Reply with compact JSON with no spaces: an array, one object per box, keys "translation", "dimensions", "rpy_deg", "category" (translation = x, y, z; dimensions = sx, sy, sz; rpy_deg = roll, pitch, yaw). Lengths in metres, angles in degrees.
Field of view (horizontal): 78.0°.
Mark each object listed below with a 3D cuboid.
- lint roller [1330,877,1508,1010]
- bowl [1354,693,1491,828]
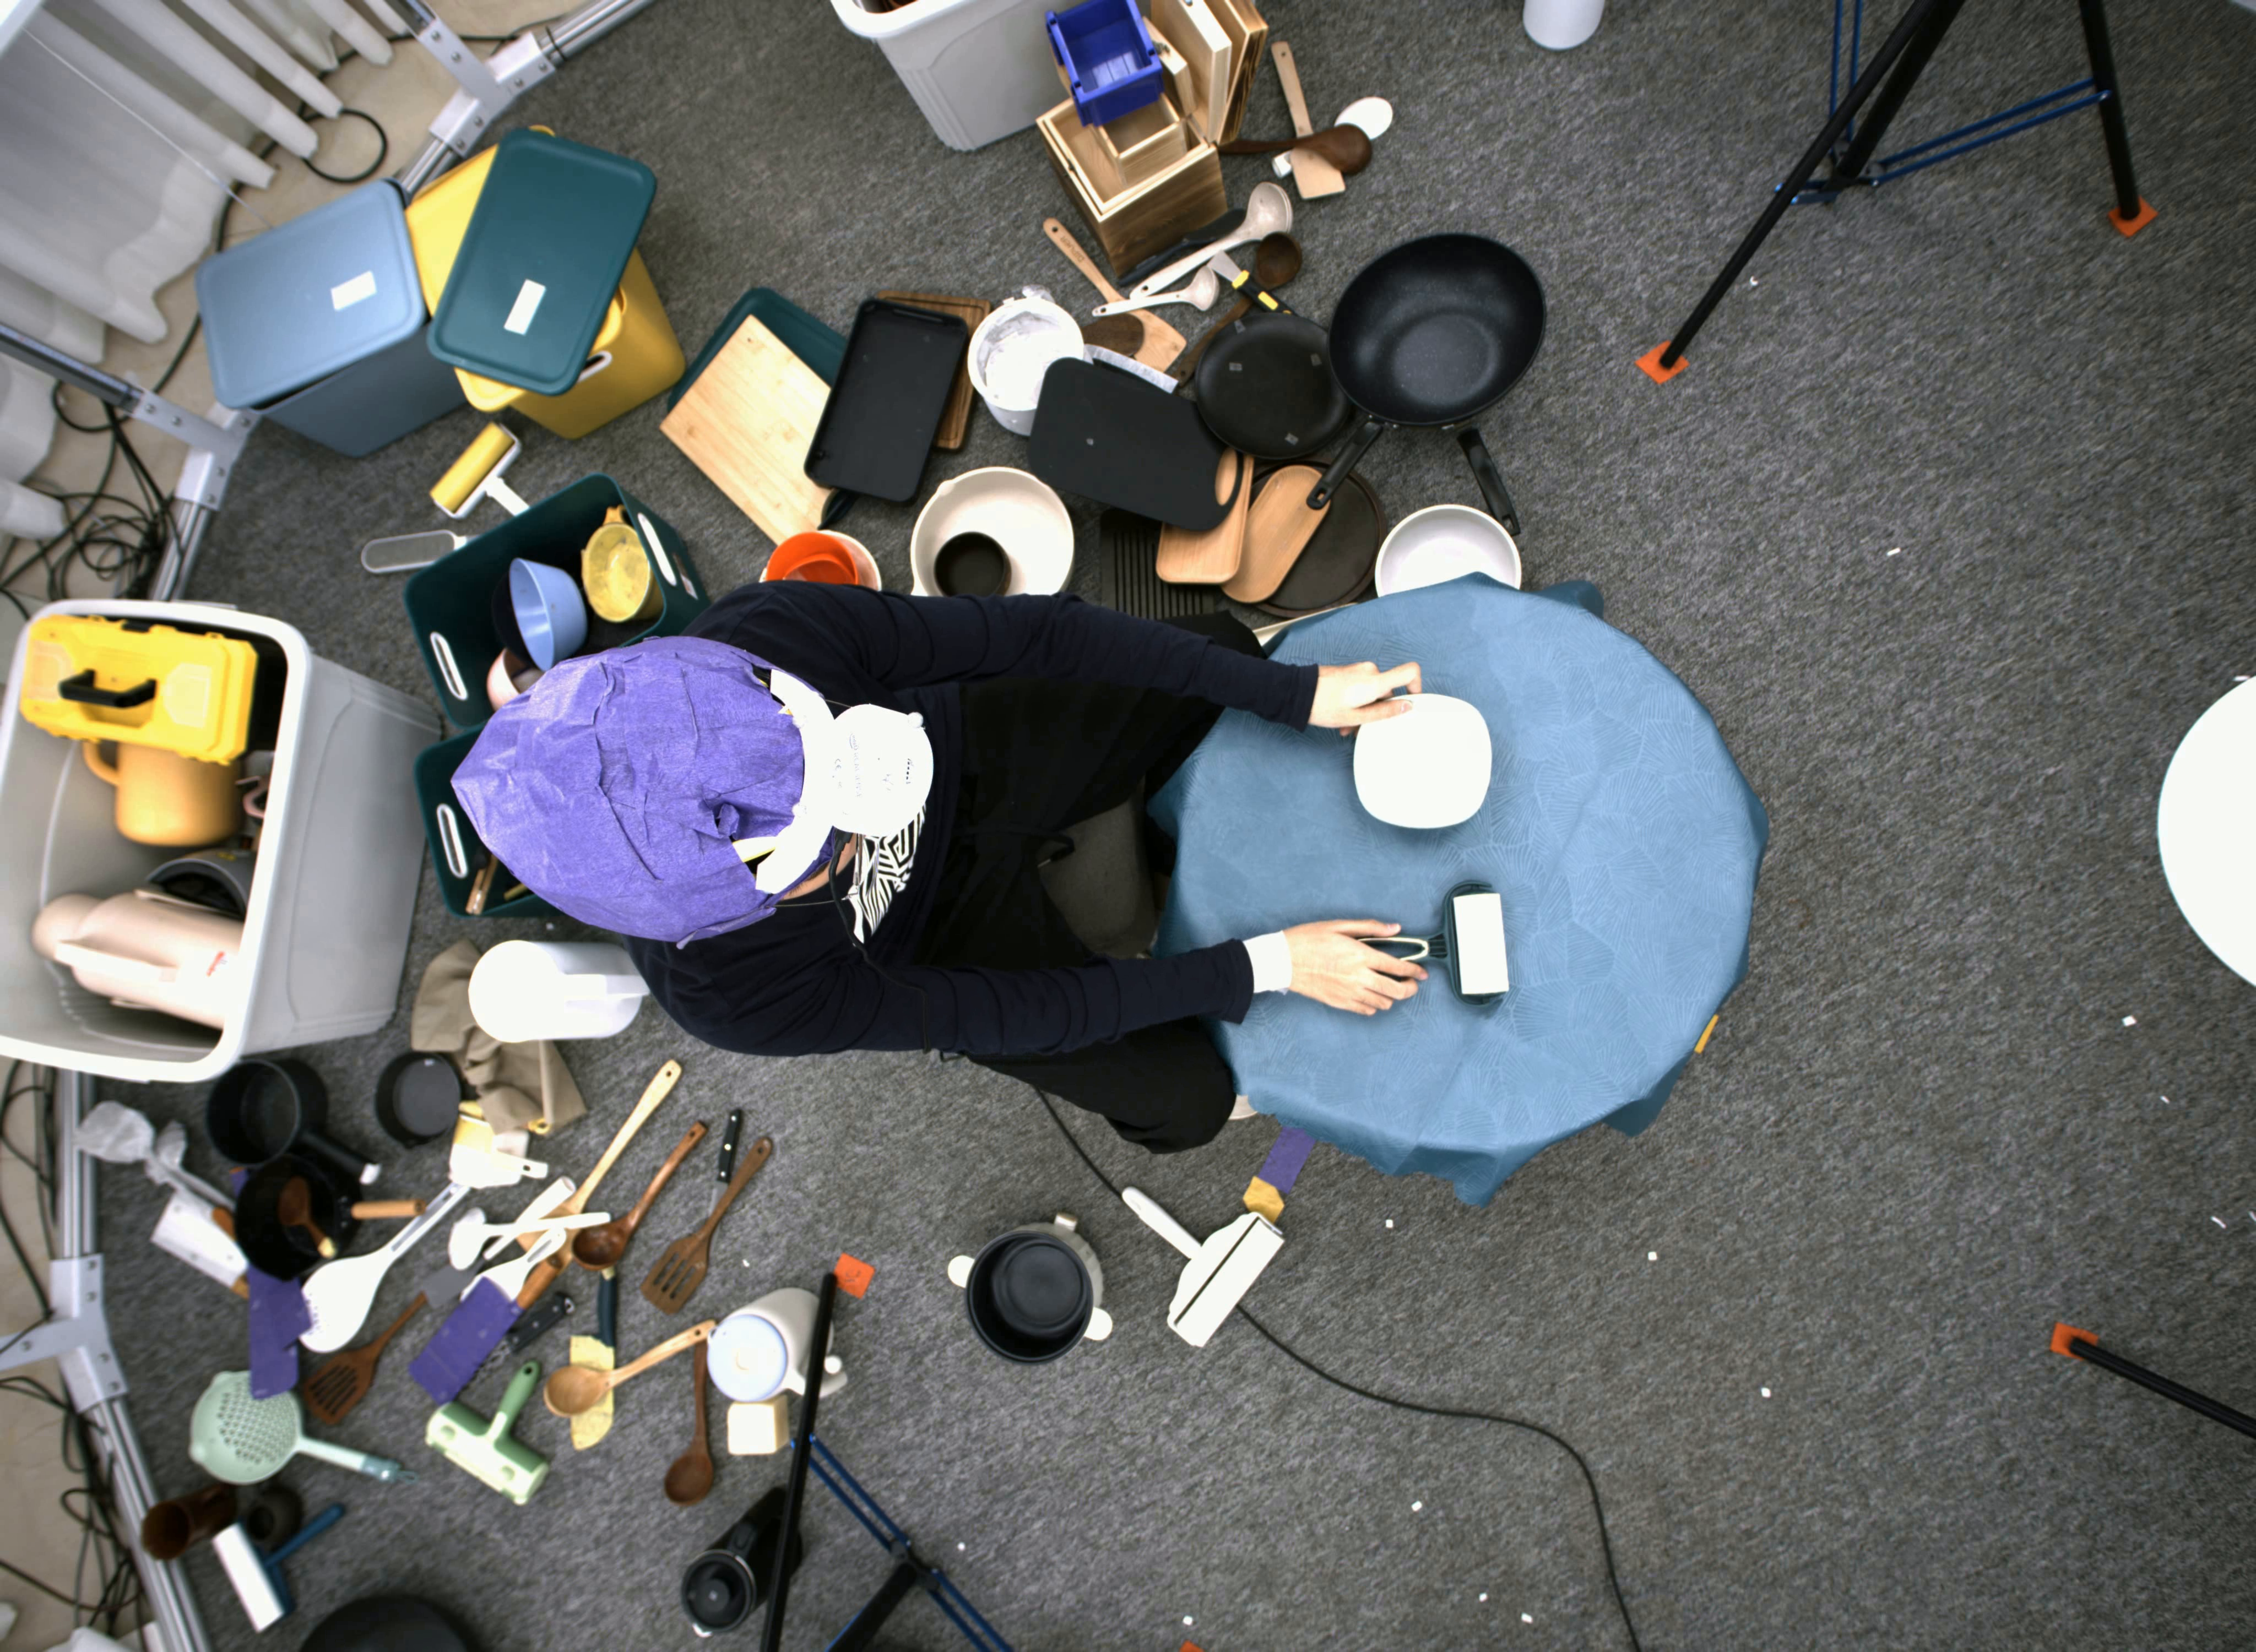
[{"translation":[0.298,0.127,1.432],"dimensions":[0.181,0.048,0.133],"rpy_deg":[-6,85,14],"category":"lint roller"},{"translation":[0.304,-0.066,1.429],"dimensions":[0.152,0.059,0.150],"rpy_deg":[-1,86,10],"category":"bowl"}]
